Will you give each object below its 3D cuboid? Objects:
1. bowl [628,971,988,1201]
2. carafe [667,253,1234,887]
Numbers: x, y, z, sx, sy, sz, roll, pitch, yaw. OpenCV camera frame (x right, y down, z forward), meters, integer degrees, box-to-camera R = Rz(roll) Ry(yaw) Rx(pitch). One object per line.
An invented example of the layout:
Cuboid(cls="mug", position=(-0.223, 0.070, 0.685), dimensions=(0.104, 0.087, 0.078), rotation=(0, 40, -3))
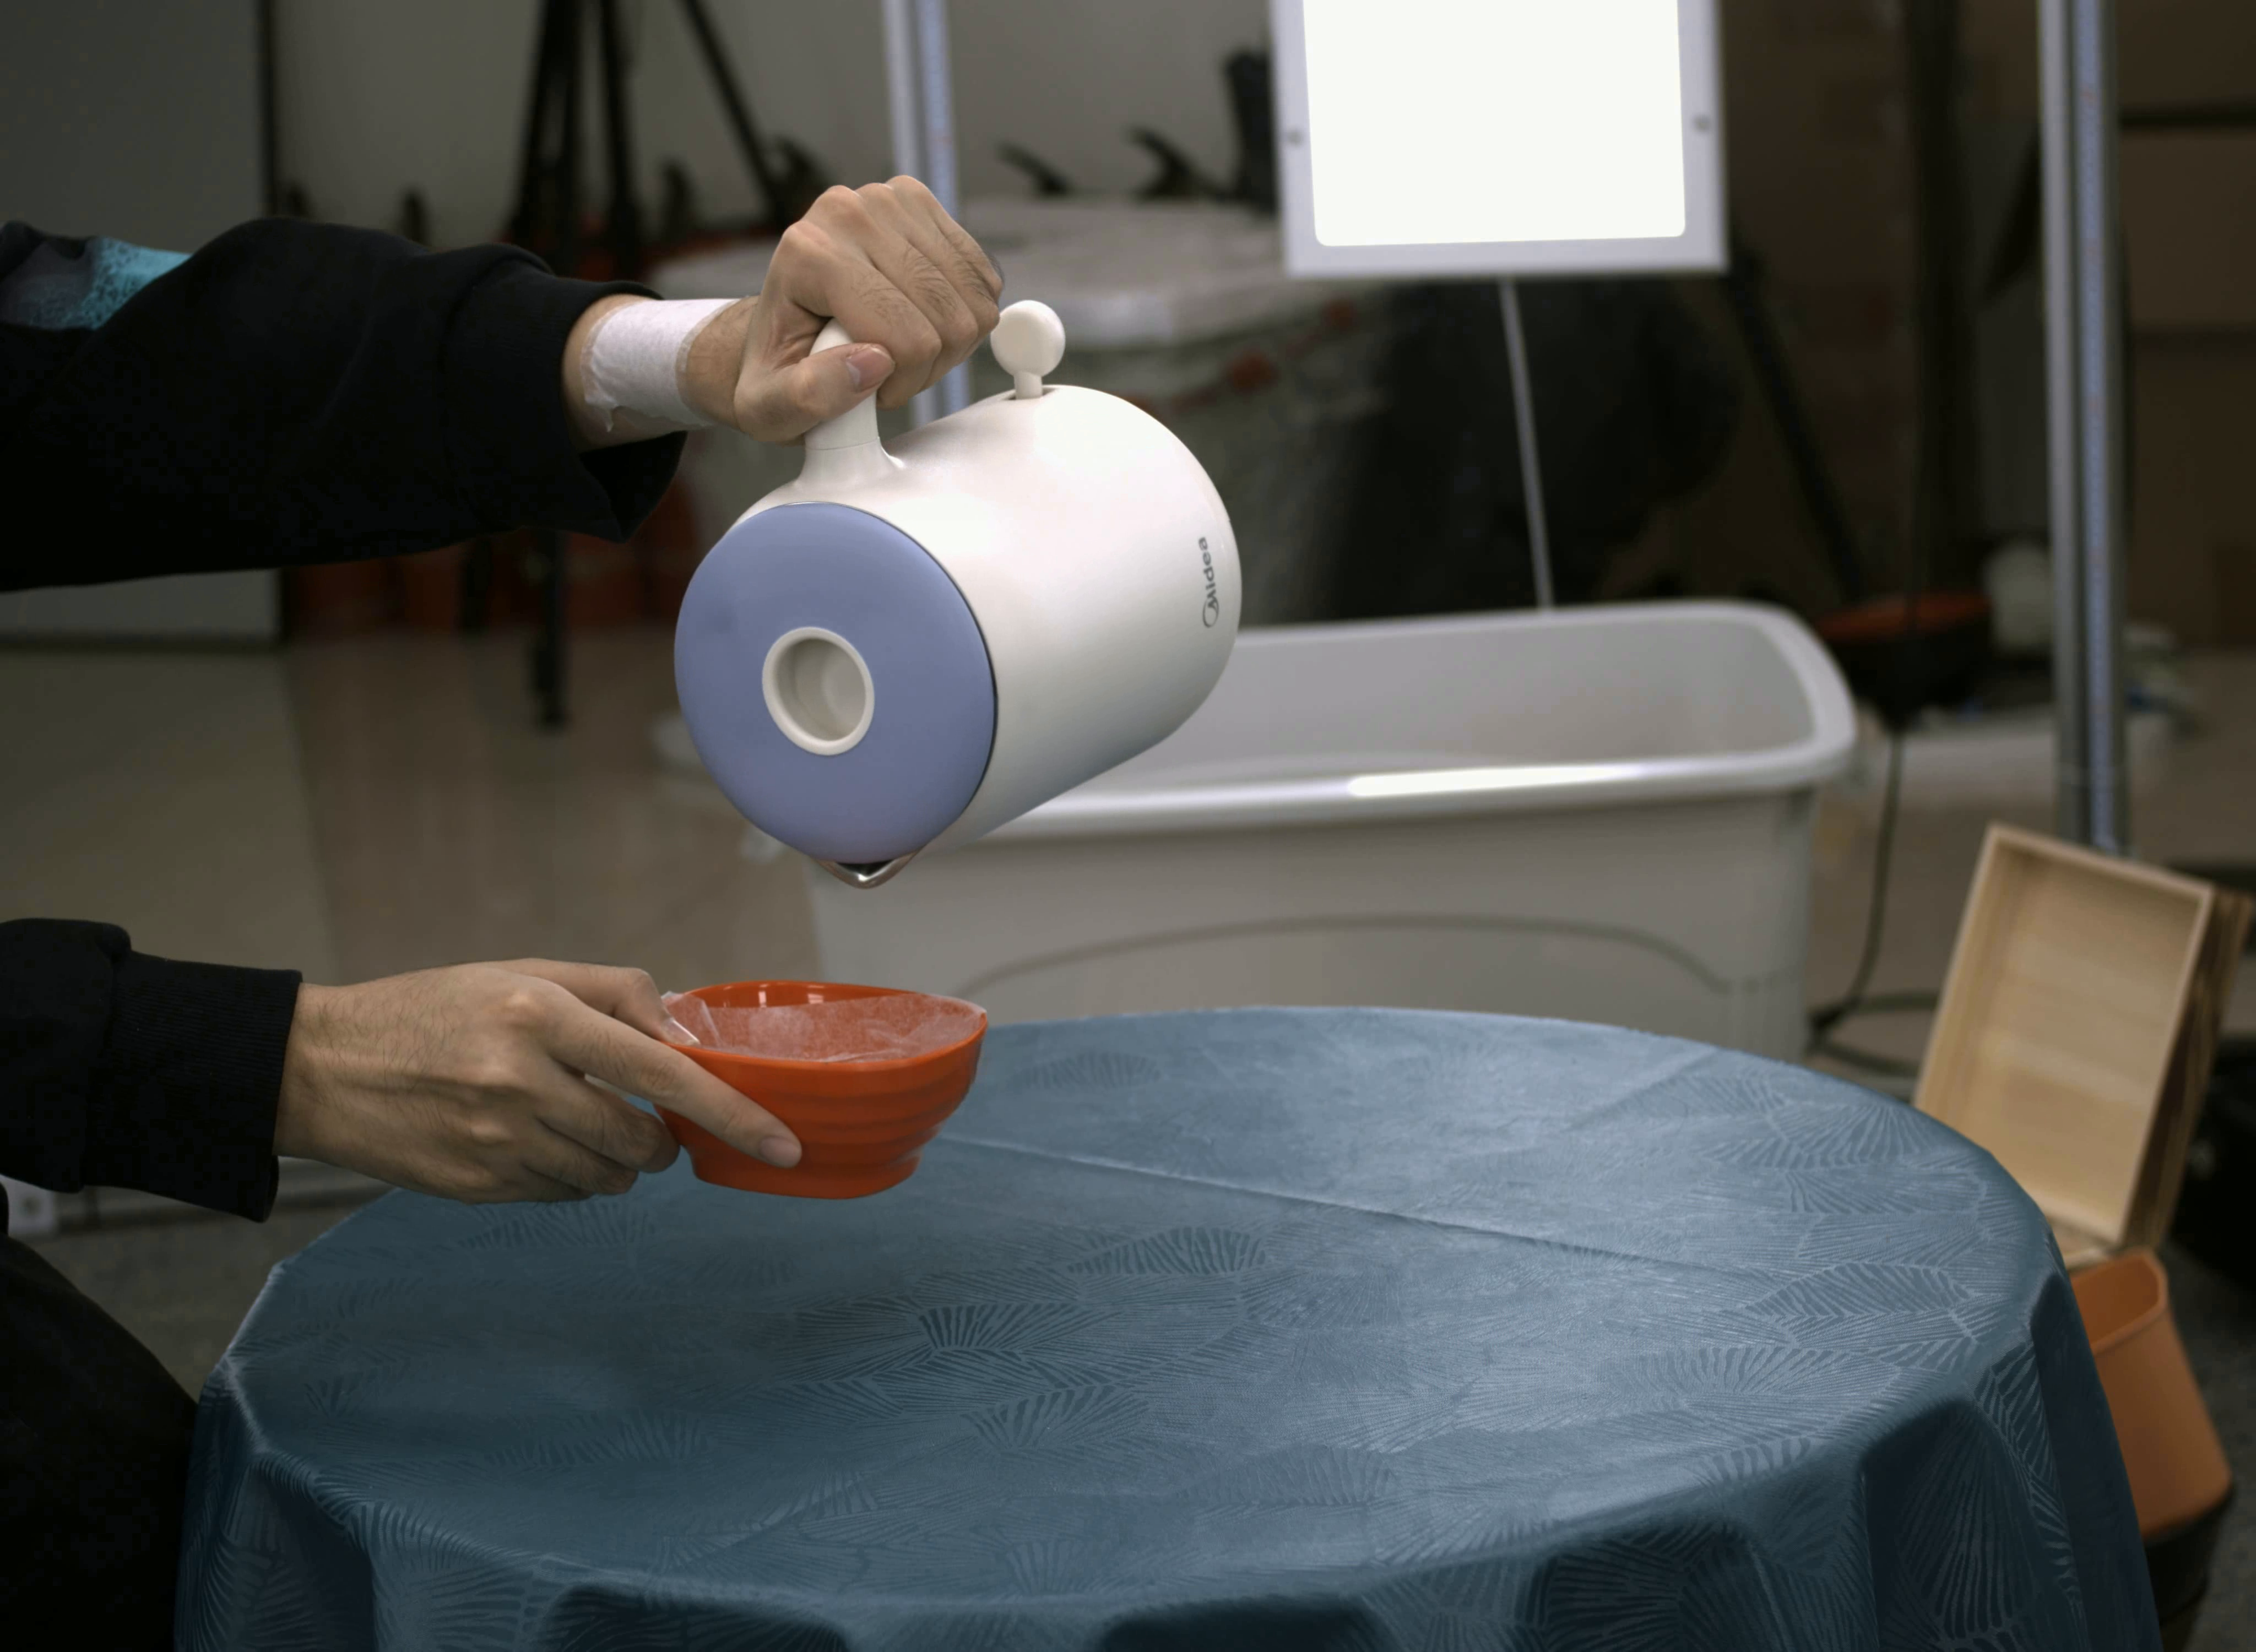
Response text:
Cuboid(cls="bowl", position=(-0.103, 0.085, 1.767), dimensions=(0.118, 0.051, 0.119), rotation=(2, 13, -2))
Cuboid(cls="carafe", position=(-0.061, -0.091, 1.809), dimensions=(0.135, 0.191, 0.178), rotation=(-2, 12, 30))
